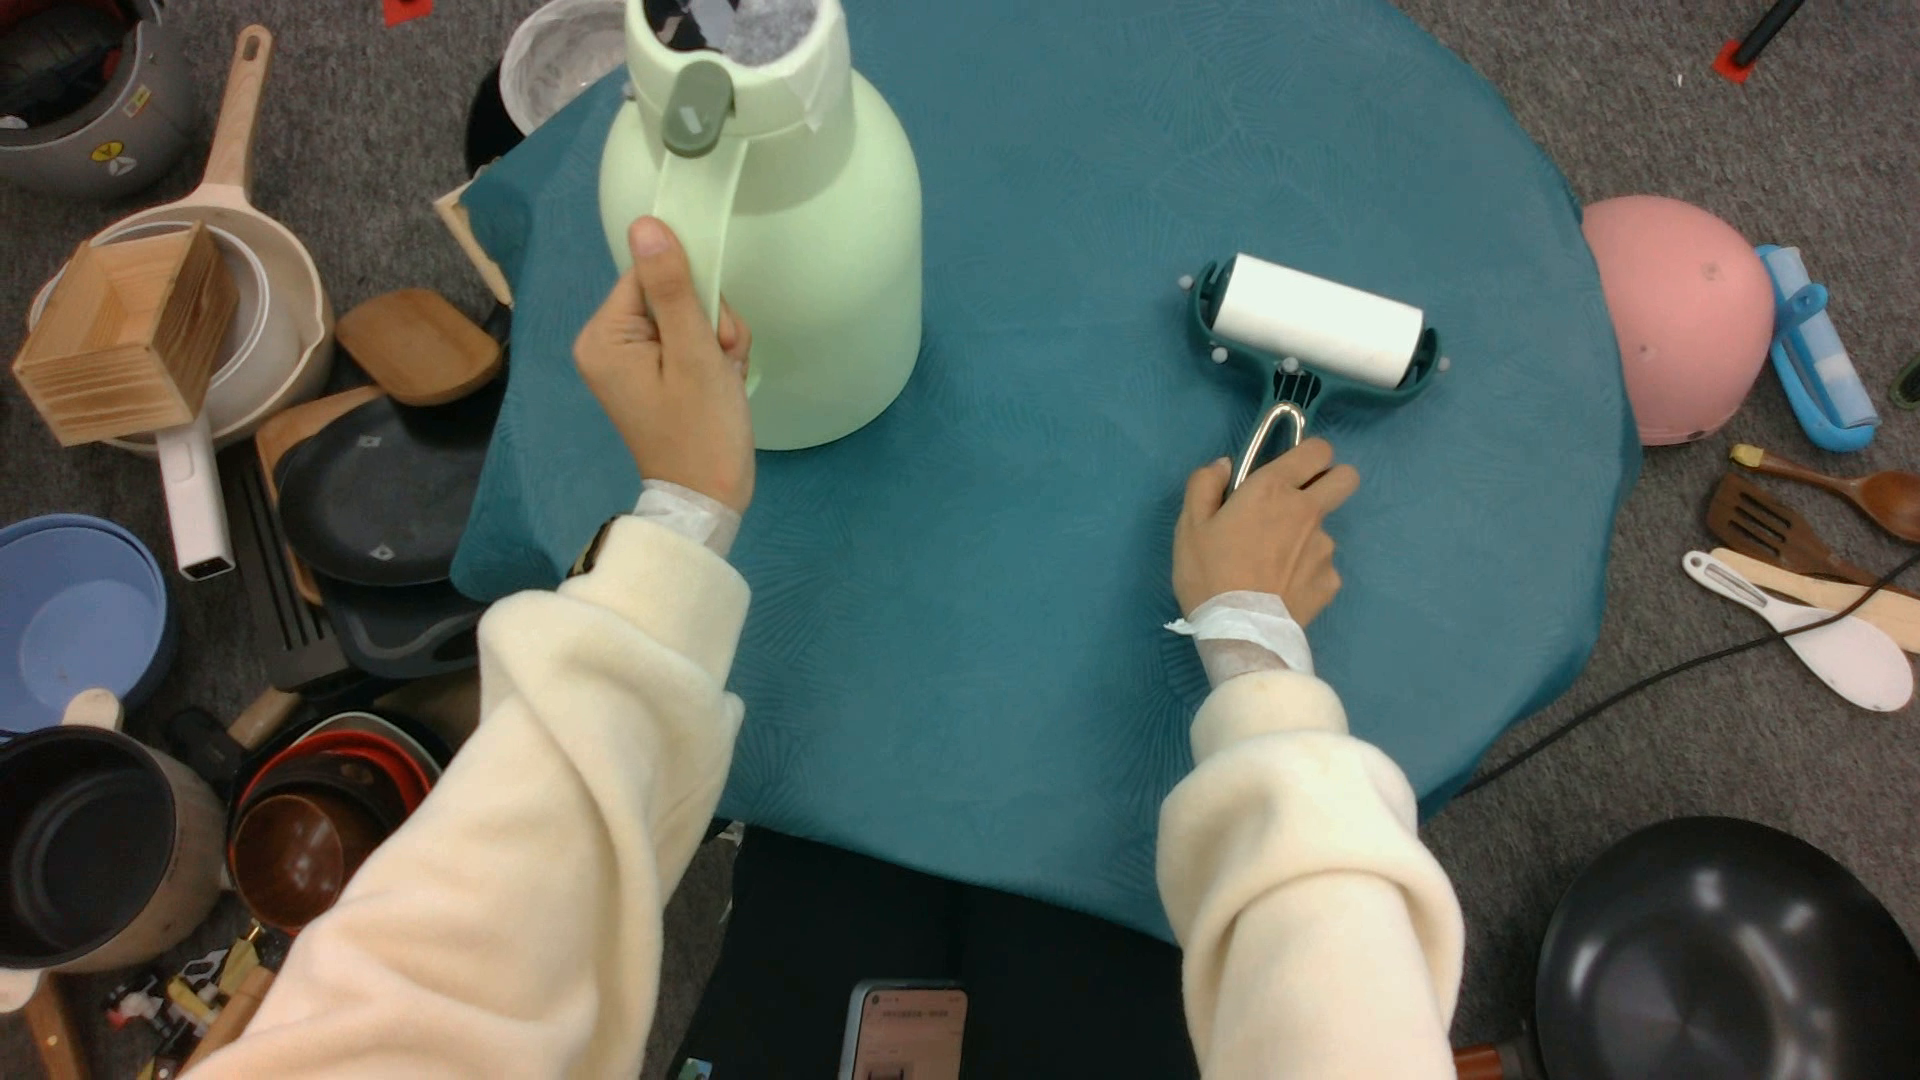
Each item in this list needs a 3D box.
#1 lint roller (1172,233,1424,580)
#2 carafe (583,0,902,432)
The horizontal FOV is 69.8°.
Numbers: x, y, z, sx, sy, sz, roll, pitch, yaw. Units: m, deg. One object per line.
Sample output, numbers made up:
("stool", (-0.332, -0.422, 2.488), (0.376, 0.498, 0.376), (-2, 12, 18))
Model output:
("lint roller", (0.157, -0.066, 0.699), (0.134, 0.048, 0.181), (19, 62, 4))
("carafe", (-0.100, -0.144, 0.613), (0.144, 0.256, 0.187), (13, 73, -1))
